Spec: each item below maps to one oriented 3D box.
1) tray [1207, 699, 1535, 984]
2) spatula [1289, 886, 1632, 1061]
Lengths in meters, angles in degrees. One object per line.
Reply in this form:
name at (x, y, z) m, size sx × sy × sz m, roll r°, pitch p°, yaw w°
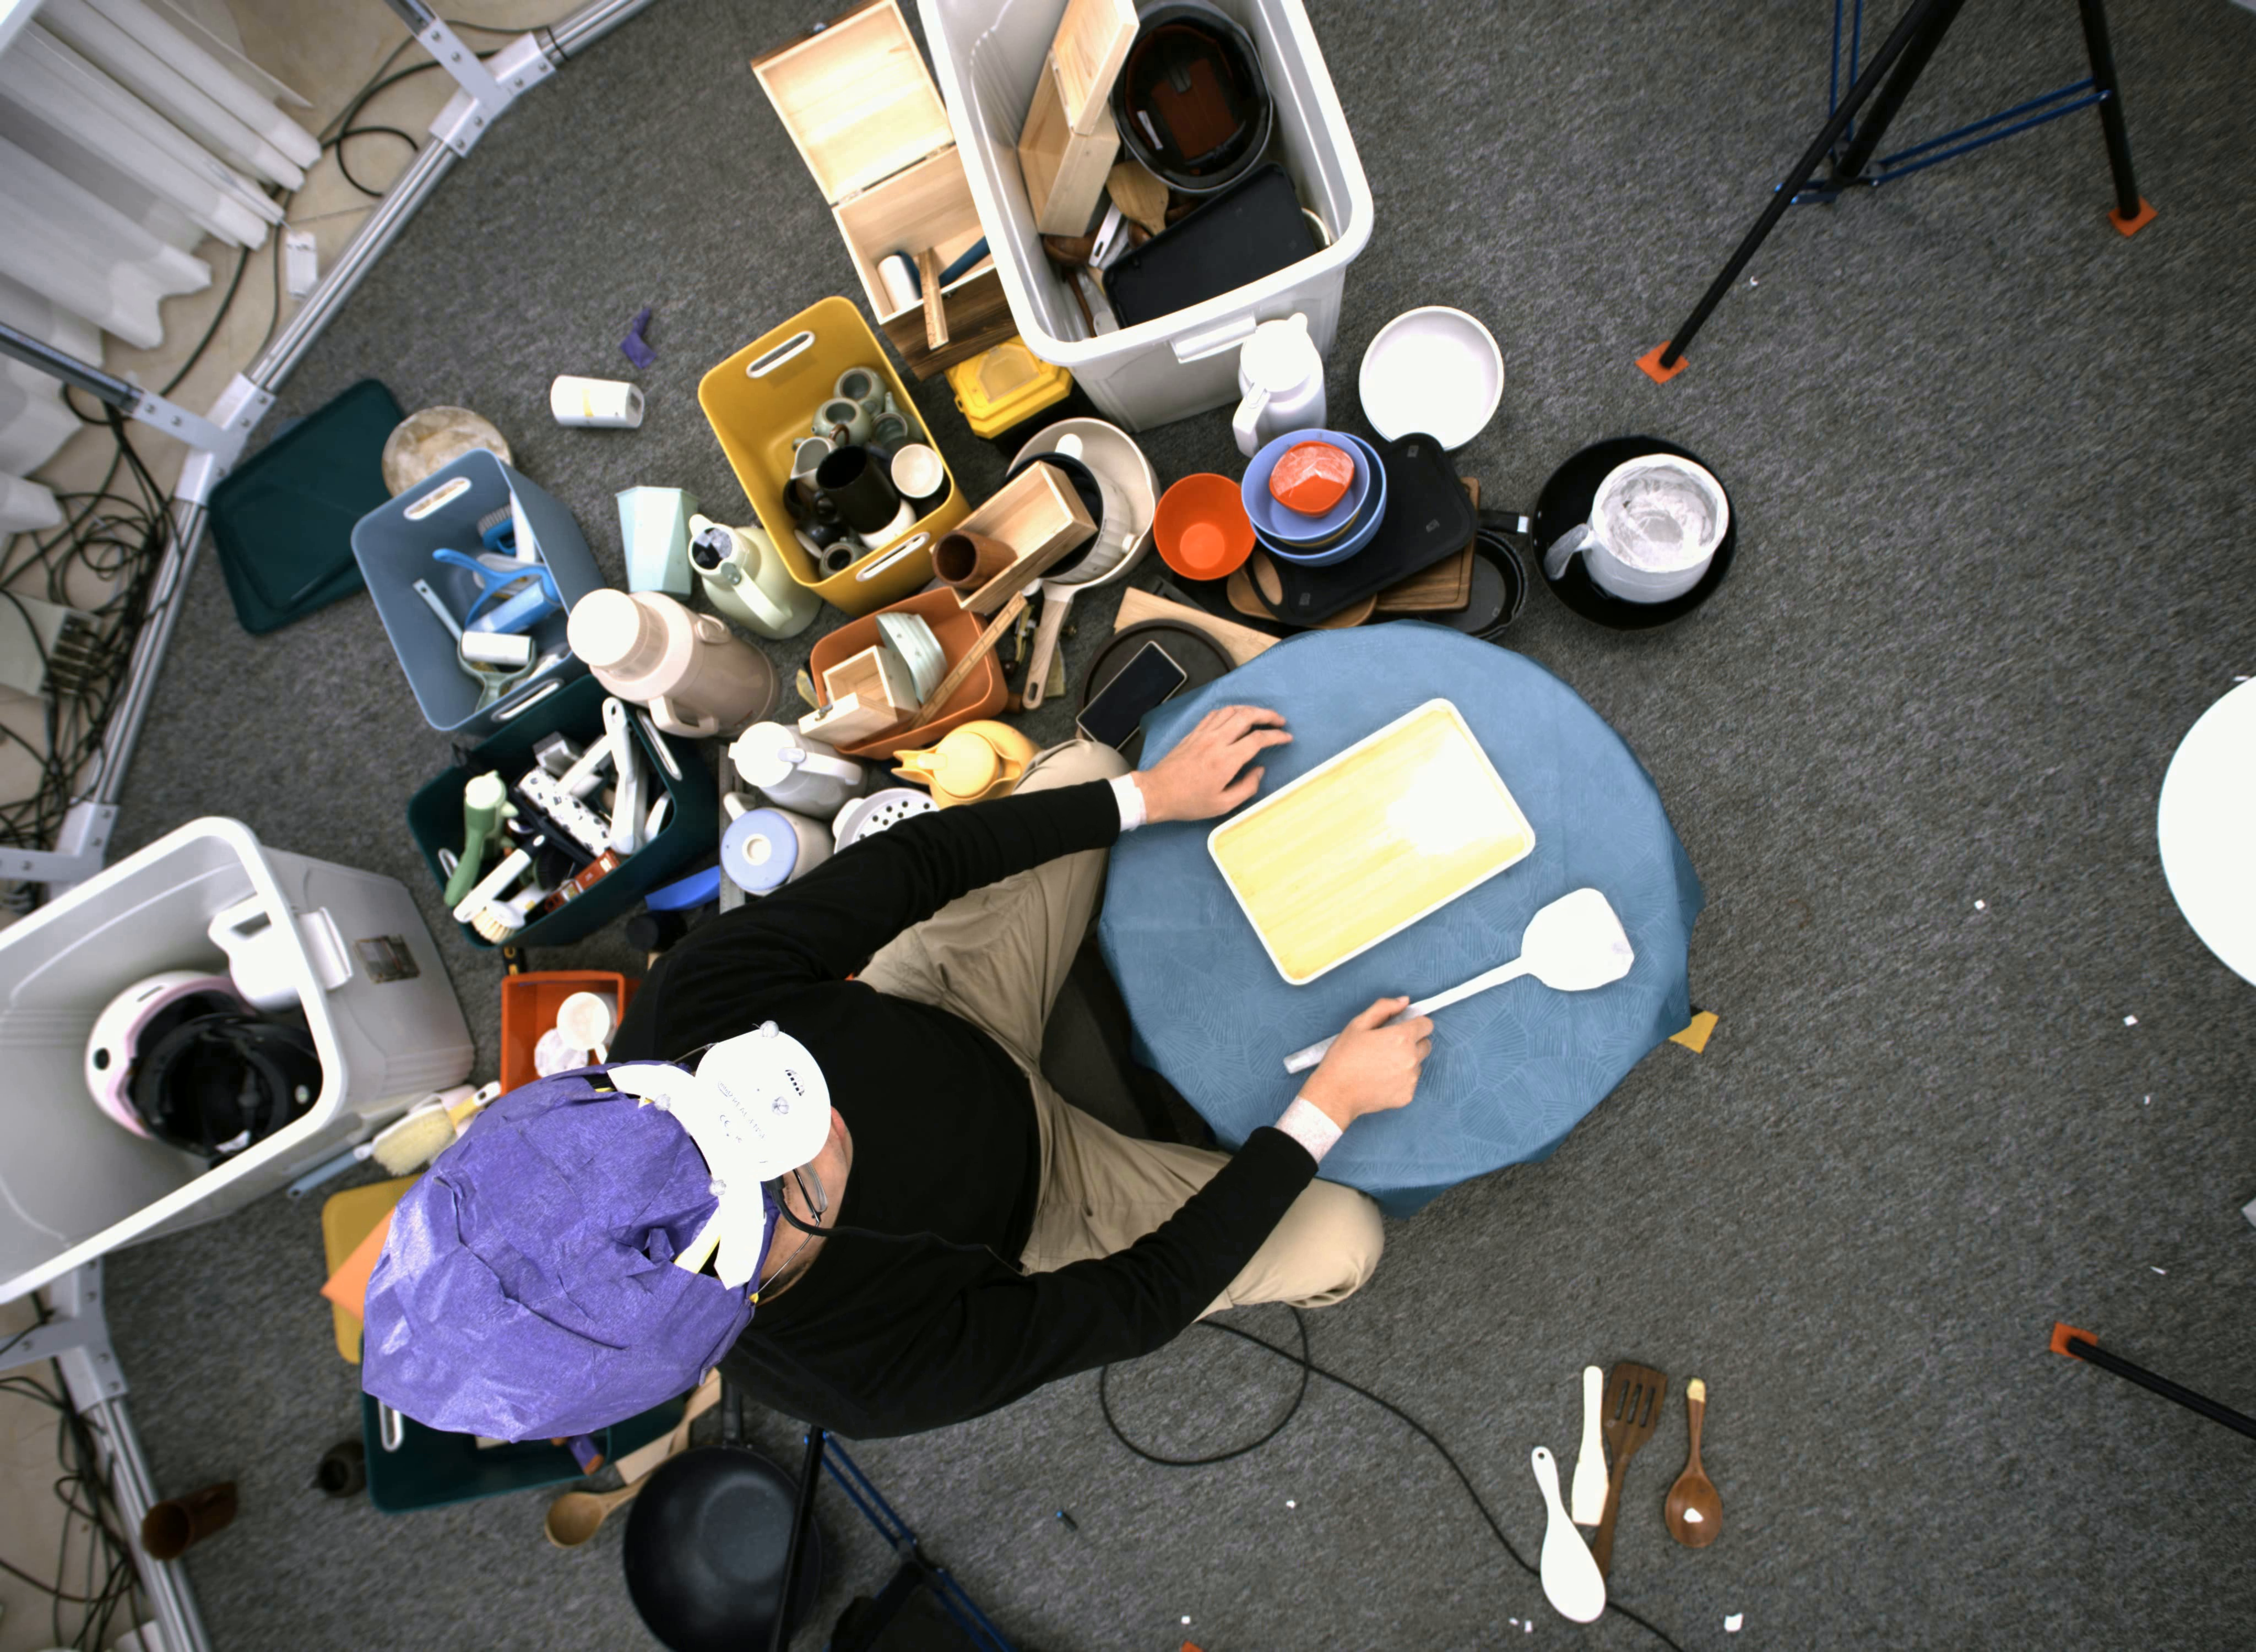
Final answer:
tray at (0.253, 0.015, 1.453) m, size 0.302 × 0.027 × 0.190 m, roll -31°, pitch 82°, yaw 8°
spatula at (0.336, 0.170, 1.422) m, size 0.367 × 0.045 × 0.098 m, roll -24°, pitch 81°, yaw 8°
